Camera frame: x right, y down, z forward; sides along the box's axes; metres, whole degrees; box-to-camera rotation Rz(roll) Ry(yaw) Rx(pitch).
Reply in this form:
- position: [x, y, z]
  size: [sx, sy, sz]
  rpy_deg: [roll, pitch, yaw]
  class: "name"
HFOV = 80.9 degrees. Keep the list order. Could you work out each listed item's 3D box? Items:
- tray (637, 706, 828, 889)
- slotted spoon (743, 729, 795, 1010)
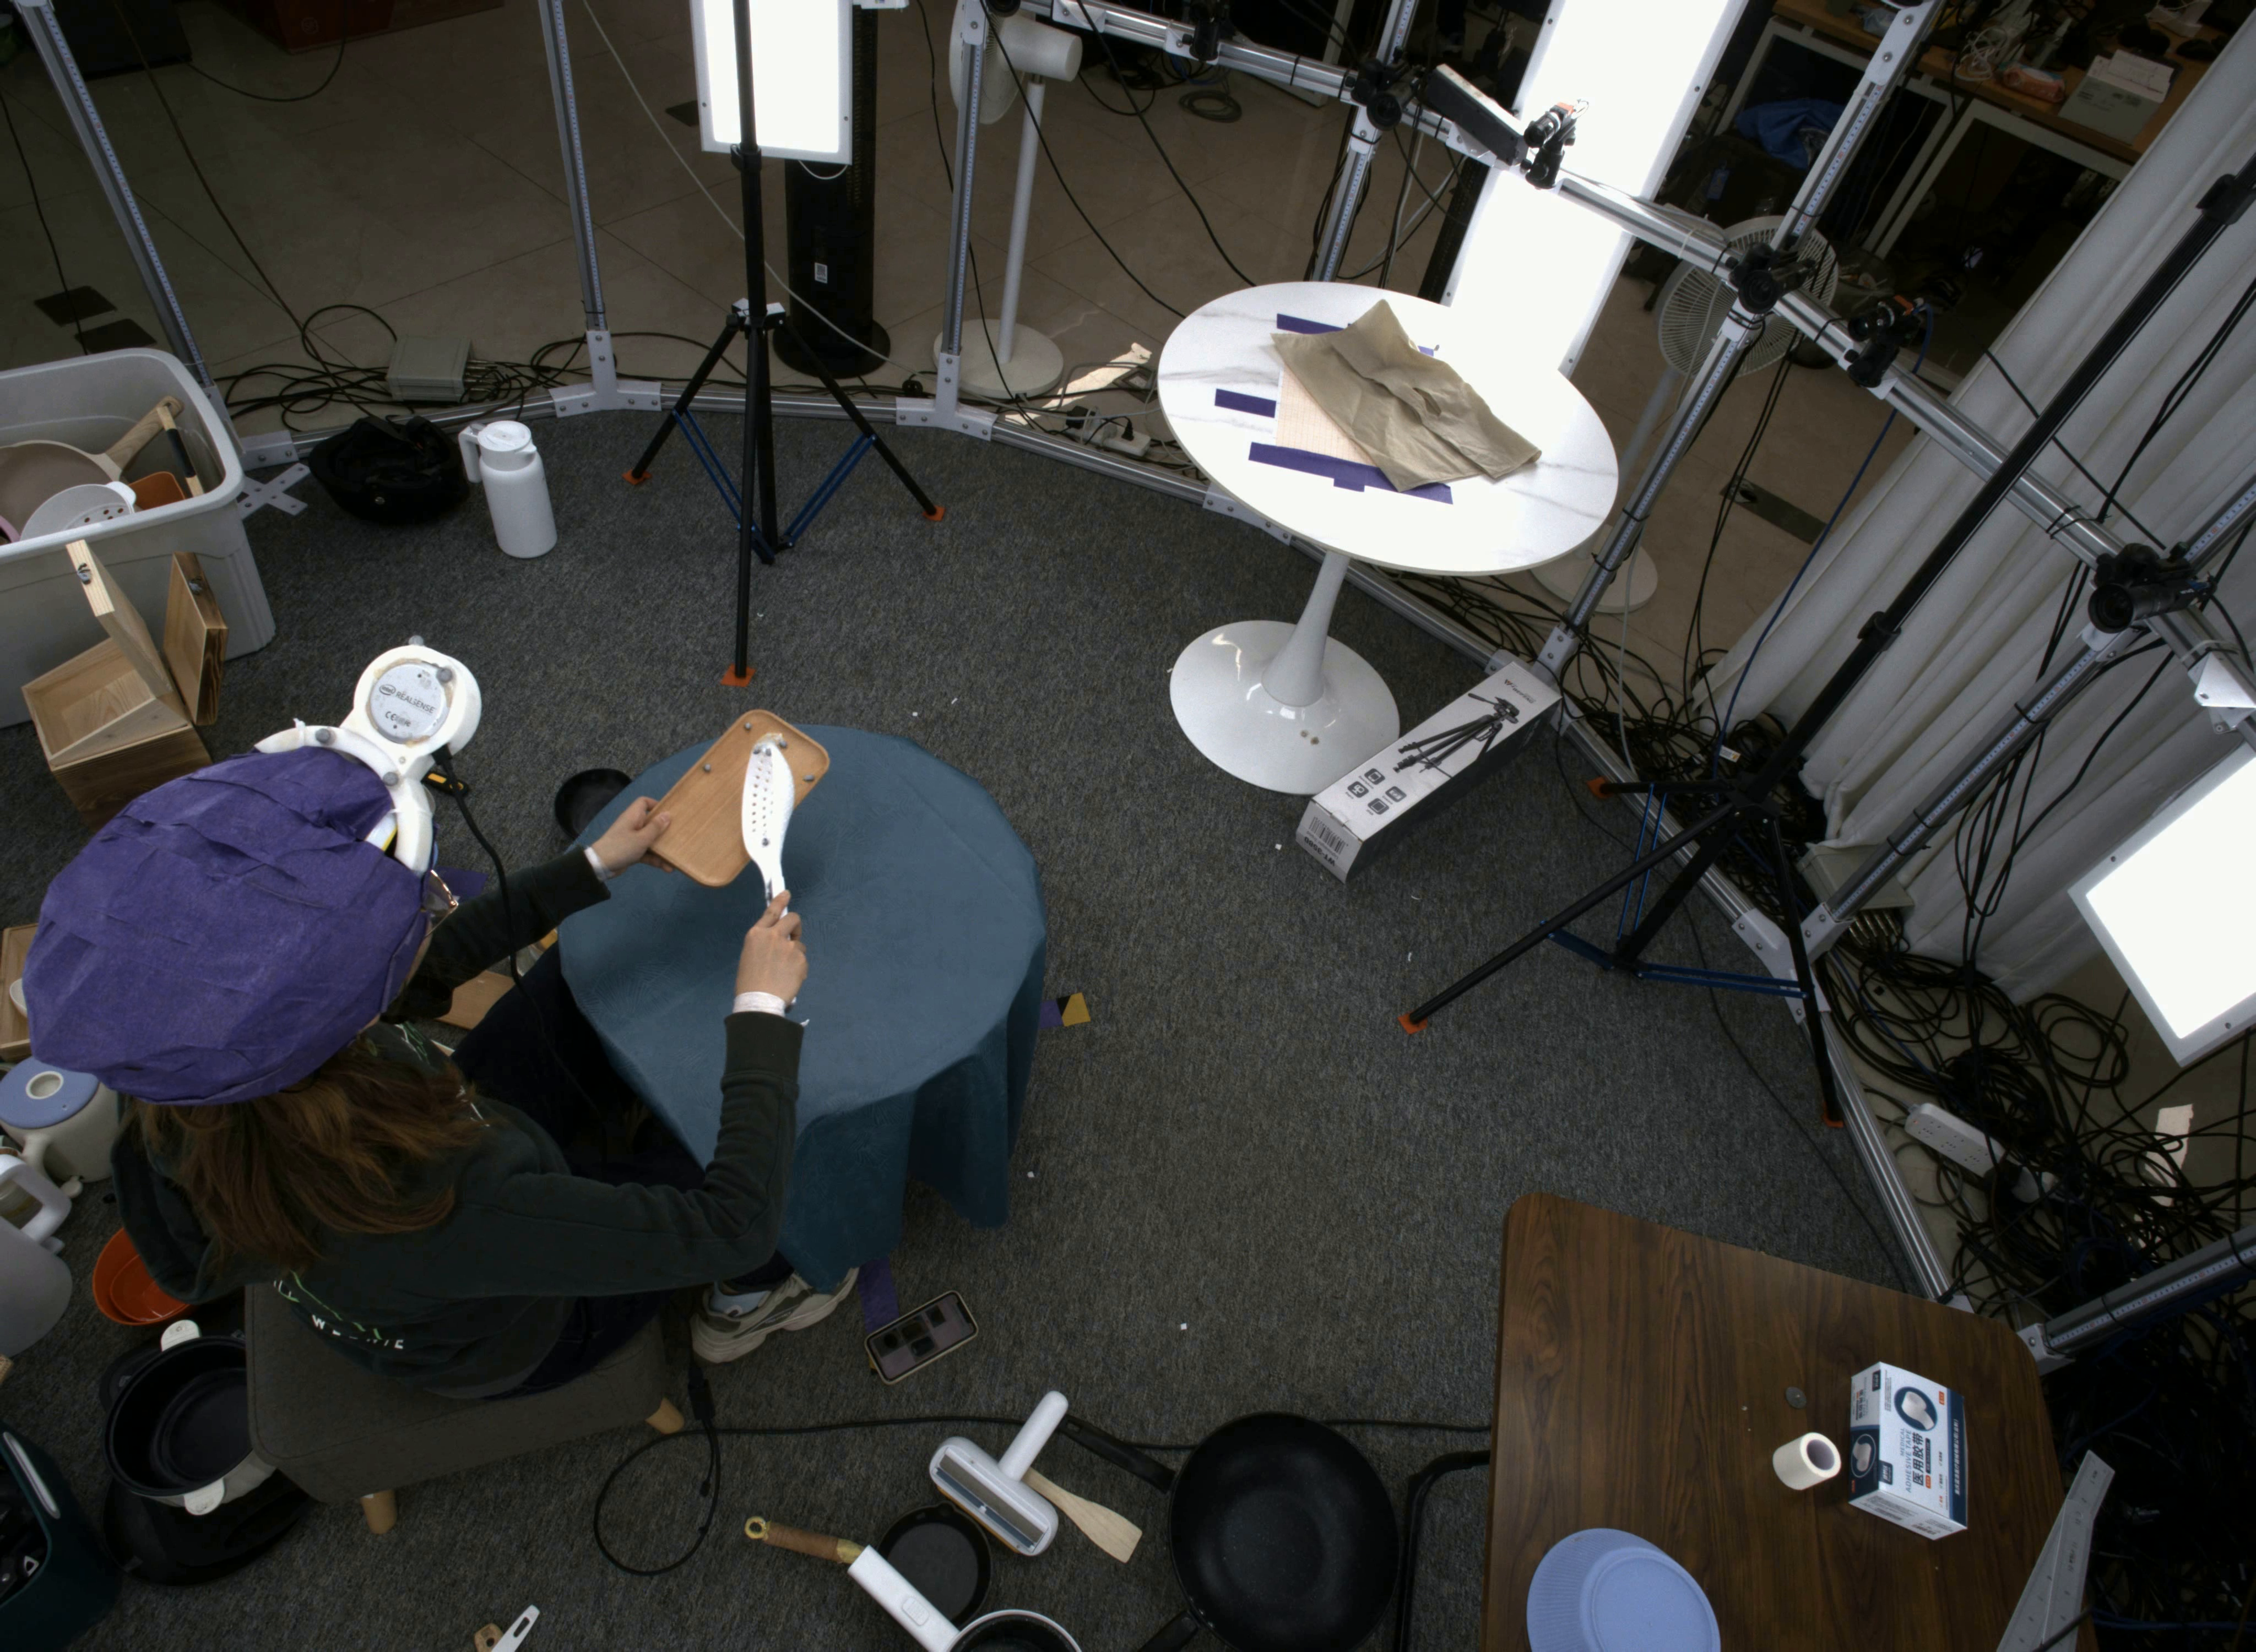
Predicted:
- position: [-0.474, -0.038, 1.557]
  size: [0.130, 0.023, 0.249]
  rpy_deg: [34, 53, -2]
  class: "tray"
- position: [-0.391, 0.044, 1.414]
  size: [0.046, 0.137, 0.341]
  rpy_deg: [7, 49, -24]
  class: "slotted spoon"
